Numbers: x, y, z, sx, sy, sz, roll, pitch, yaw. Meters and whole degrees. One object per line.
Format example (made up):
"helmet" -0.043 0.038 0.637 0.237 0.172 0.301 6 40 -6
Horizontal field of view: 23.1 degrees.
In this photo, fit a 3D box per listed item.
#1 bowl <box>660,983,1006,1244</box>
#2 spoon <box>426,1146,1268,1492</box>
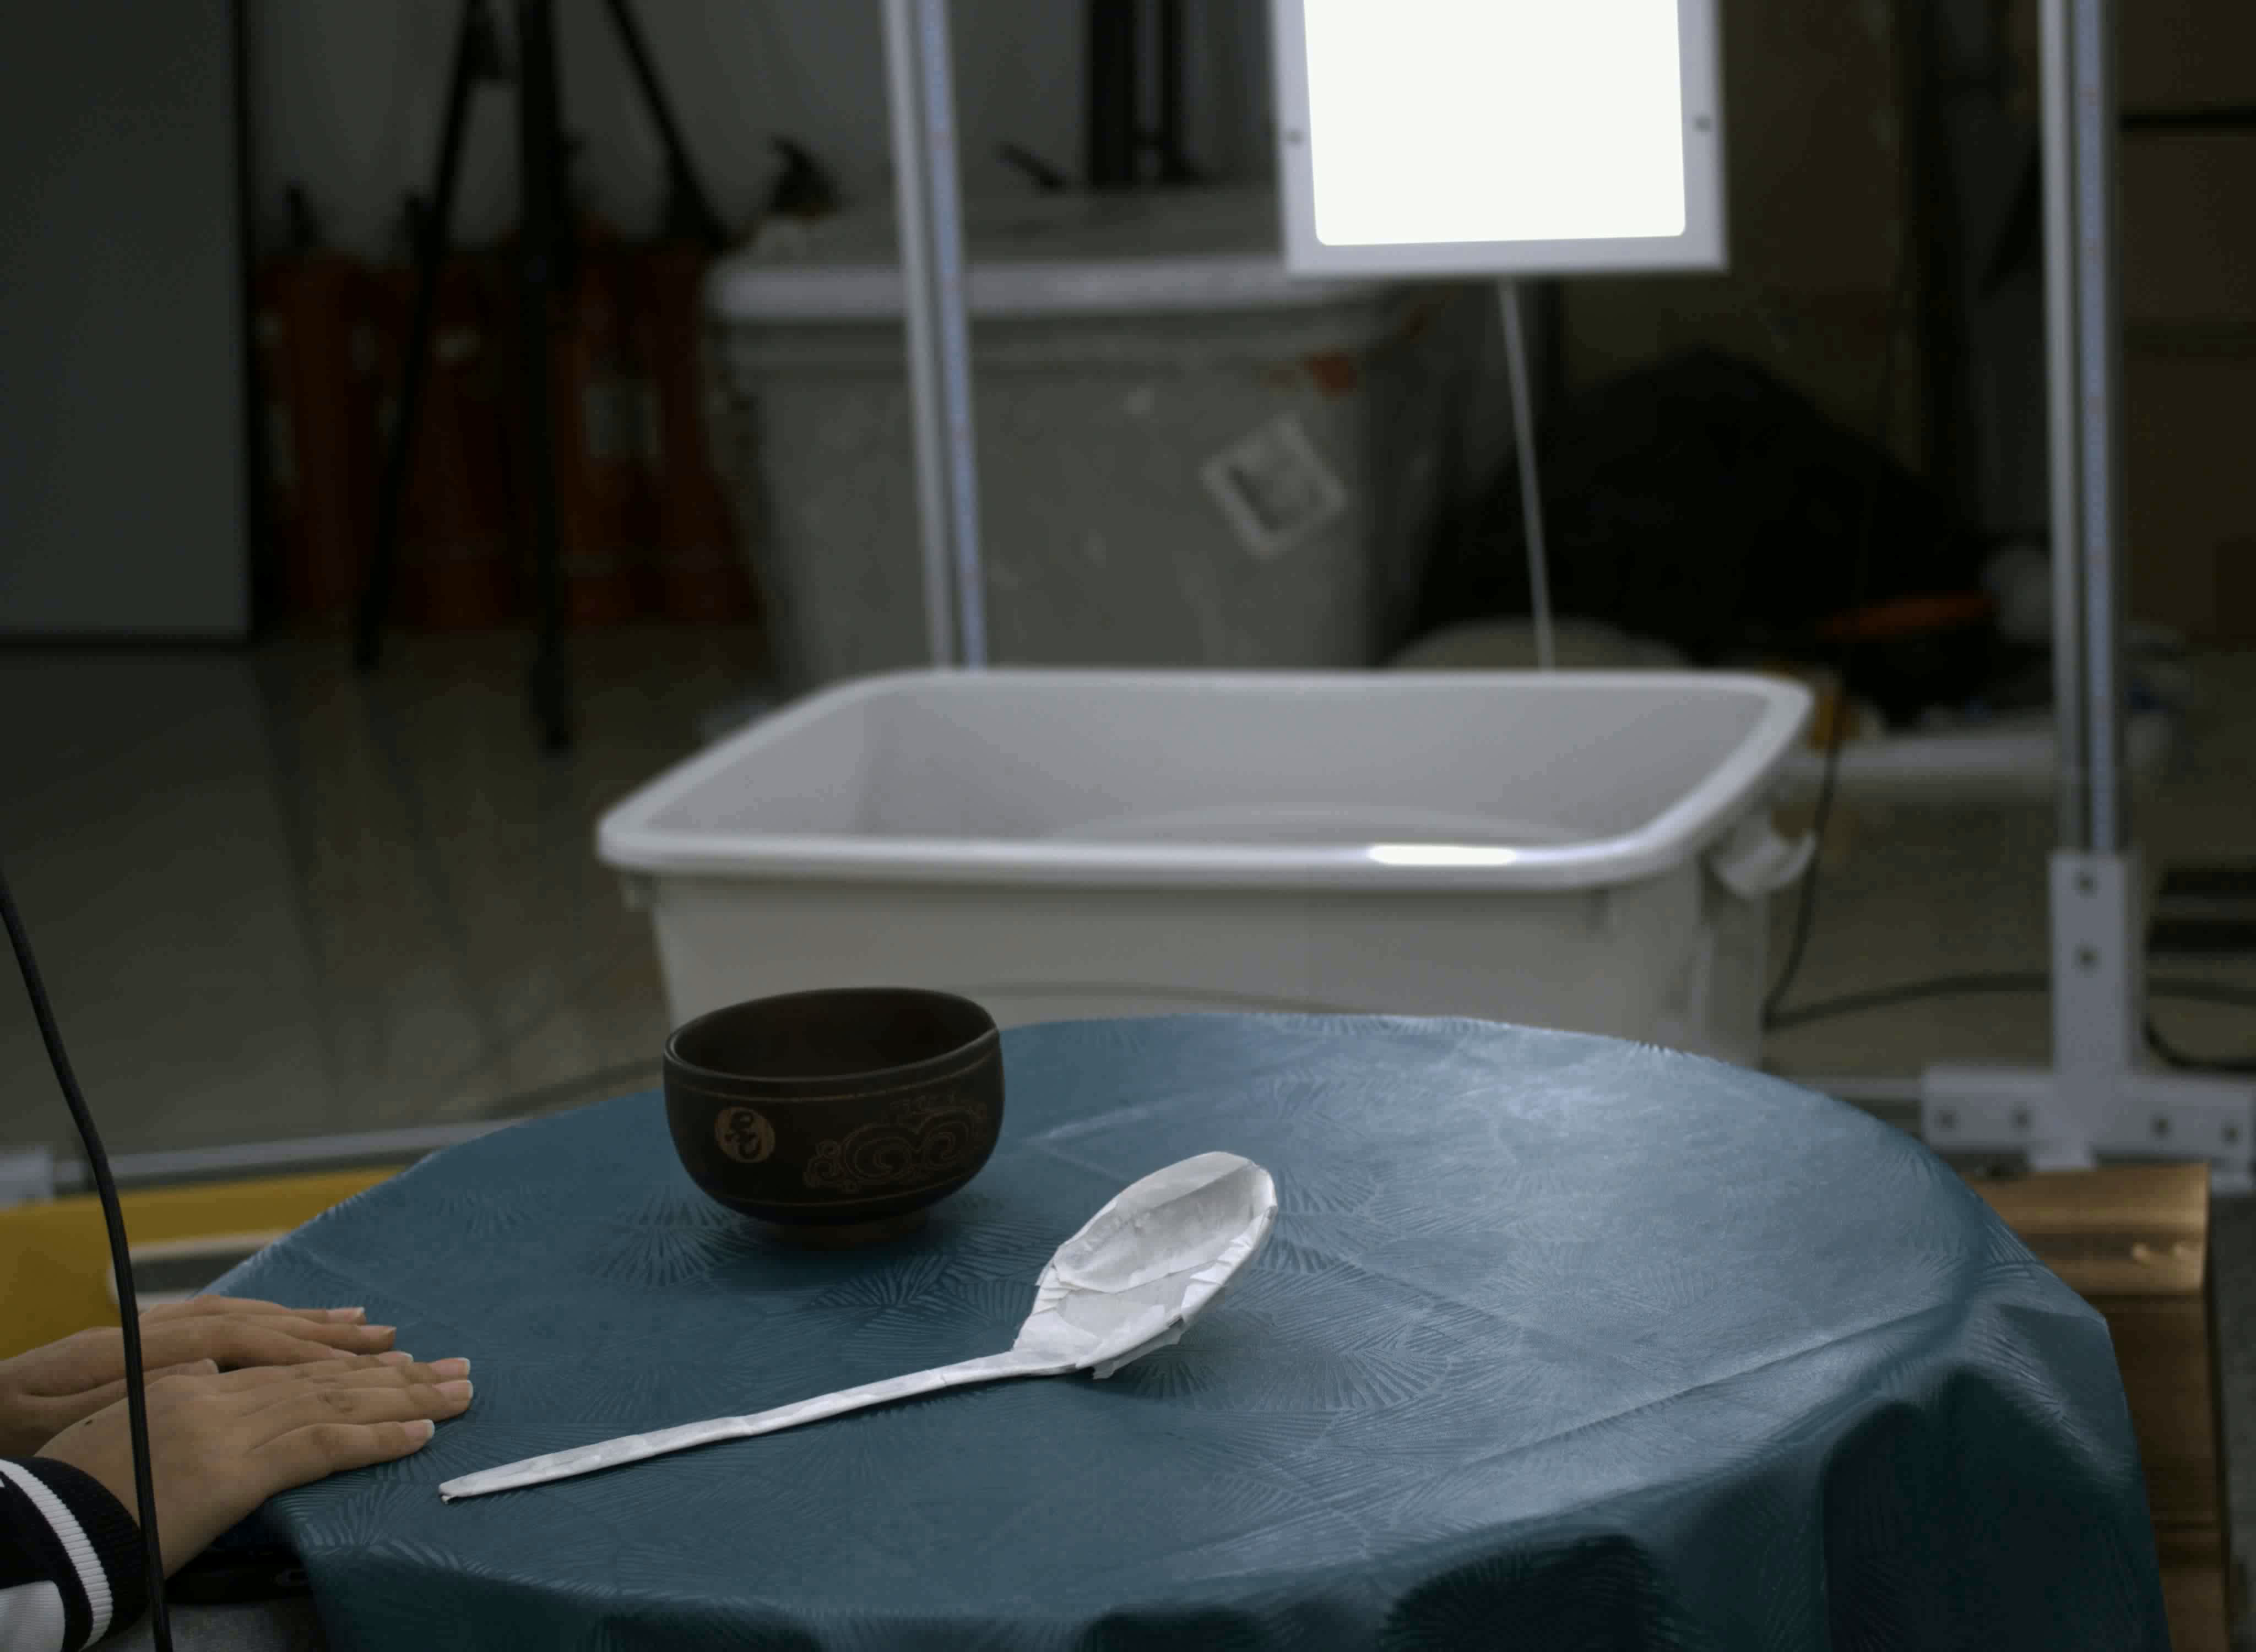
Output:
"bowl" -0.099 0.102 1.883 0.118 0.070 0.118 -6 14 0
"spoon" -0.087 0.151 1.710 0.273 0.059 0.102 -9 12 -17
